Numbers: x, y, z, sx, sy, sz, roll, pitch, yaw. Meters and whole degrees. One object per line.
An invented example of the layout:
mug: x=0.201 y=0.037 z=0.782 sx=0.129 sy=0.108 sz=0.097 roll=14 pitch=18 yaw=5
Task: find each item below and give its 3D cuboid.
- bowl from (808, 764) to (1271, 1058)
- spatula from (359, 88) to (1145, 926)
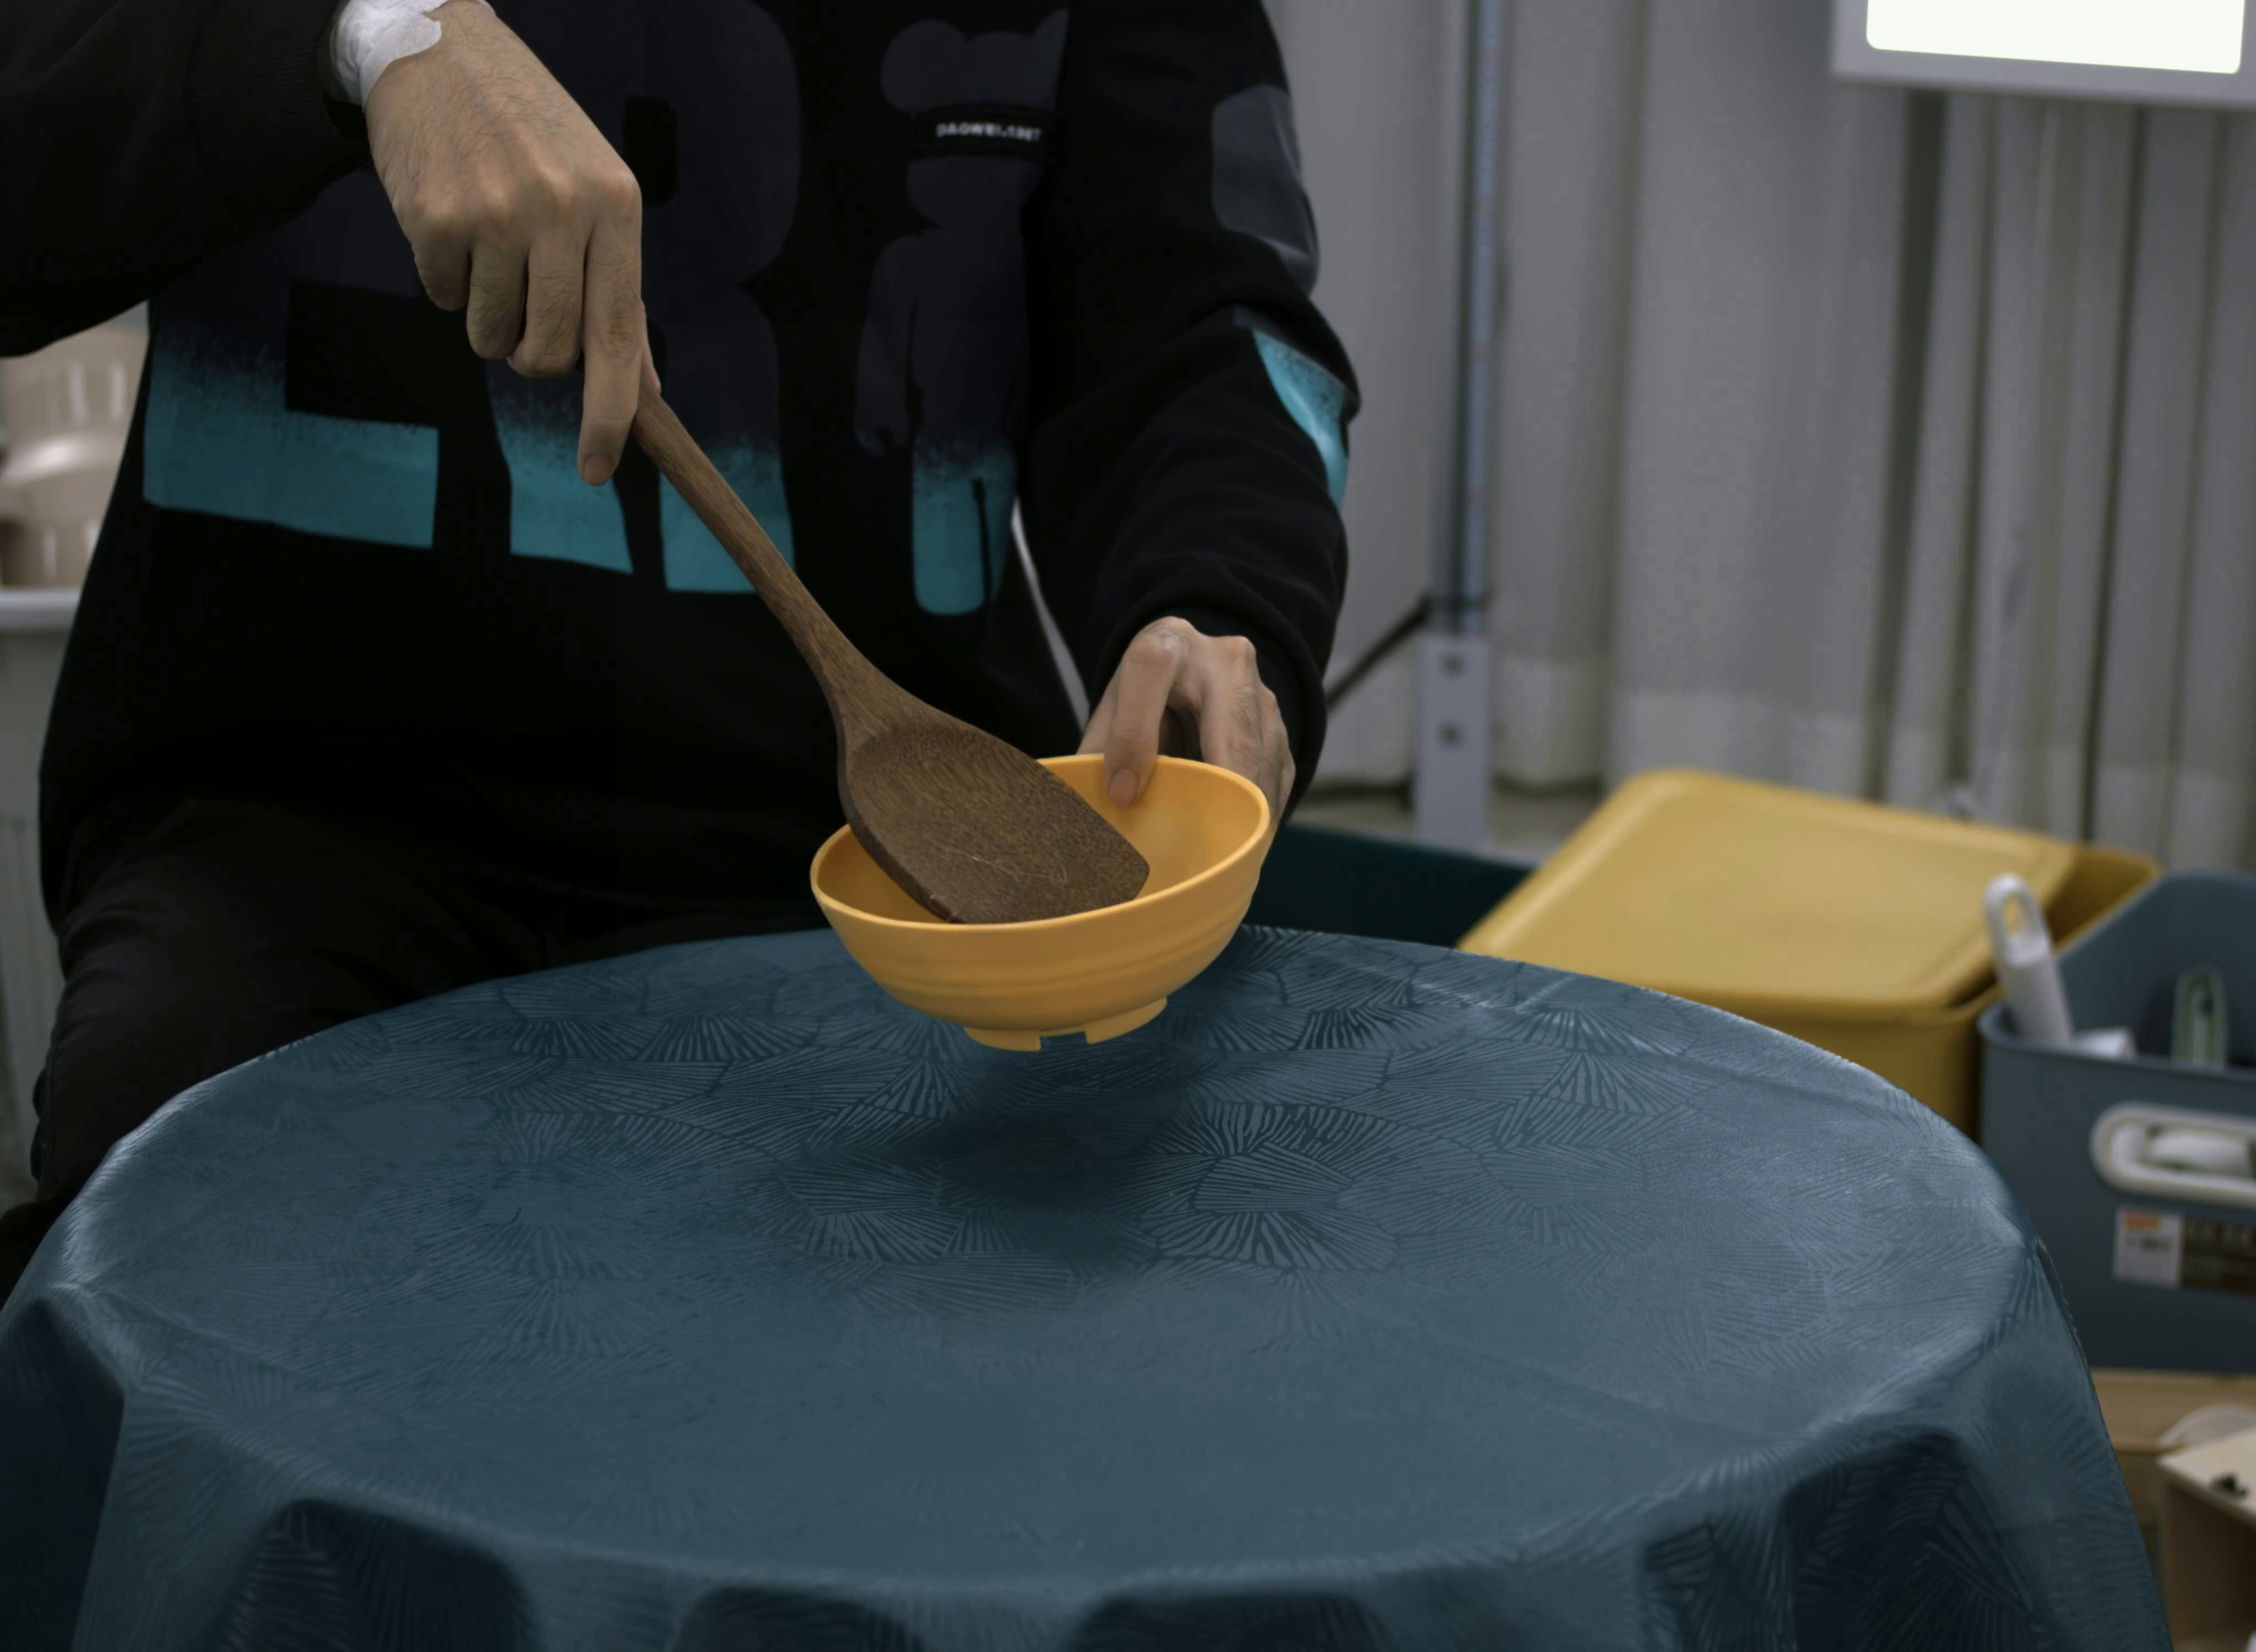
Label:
bowl: x=-0.025 y=0.032 z=1.642 sx=0.145 sy=0.061 sz=0.144 roll=-5 pitch=20 yaw=2
spatula: x=-0.133 y=-0.106 z=1.678 sx=0.096 sy=0.016 sz=0.383 roll=-18 pitch=62 yaw=-49
